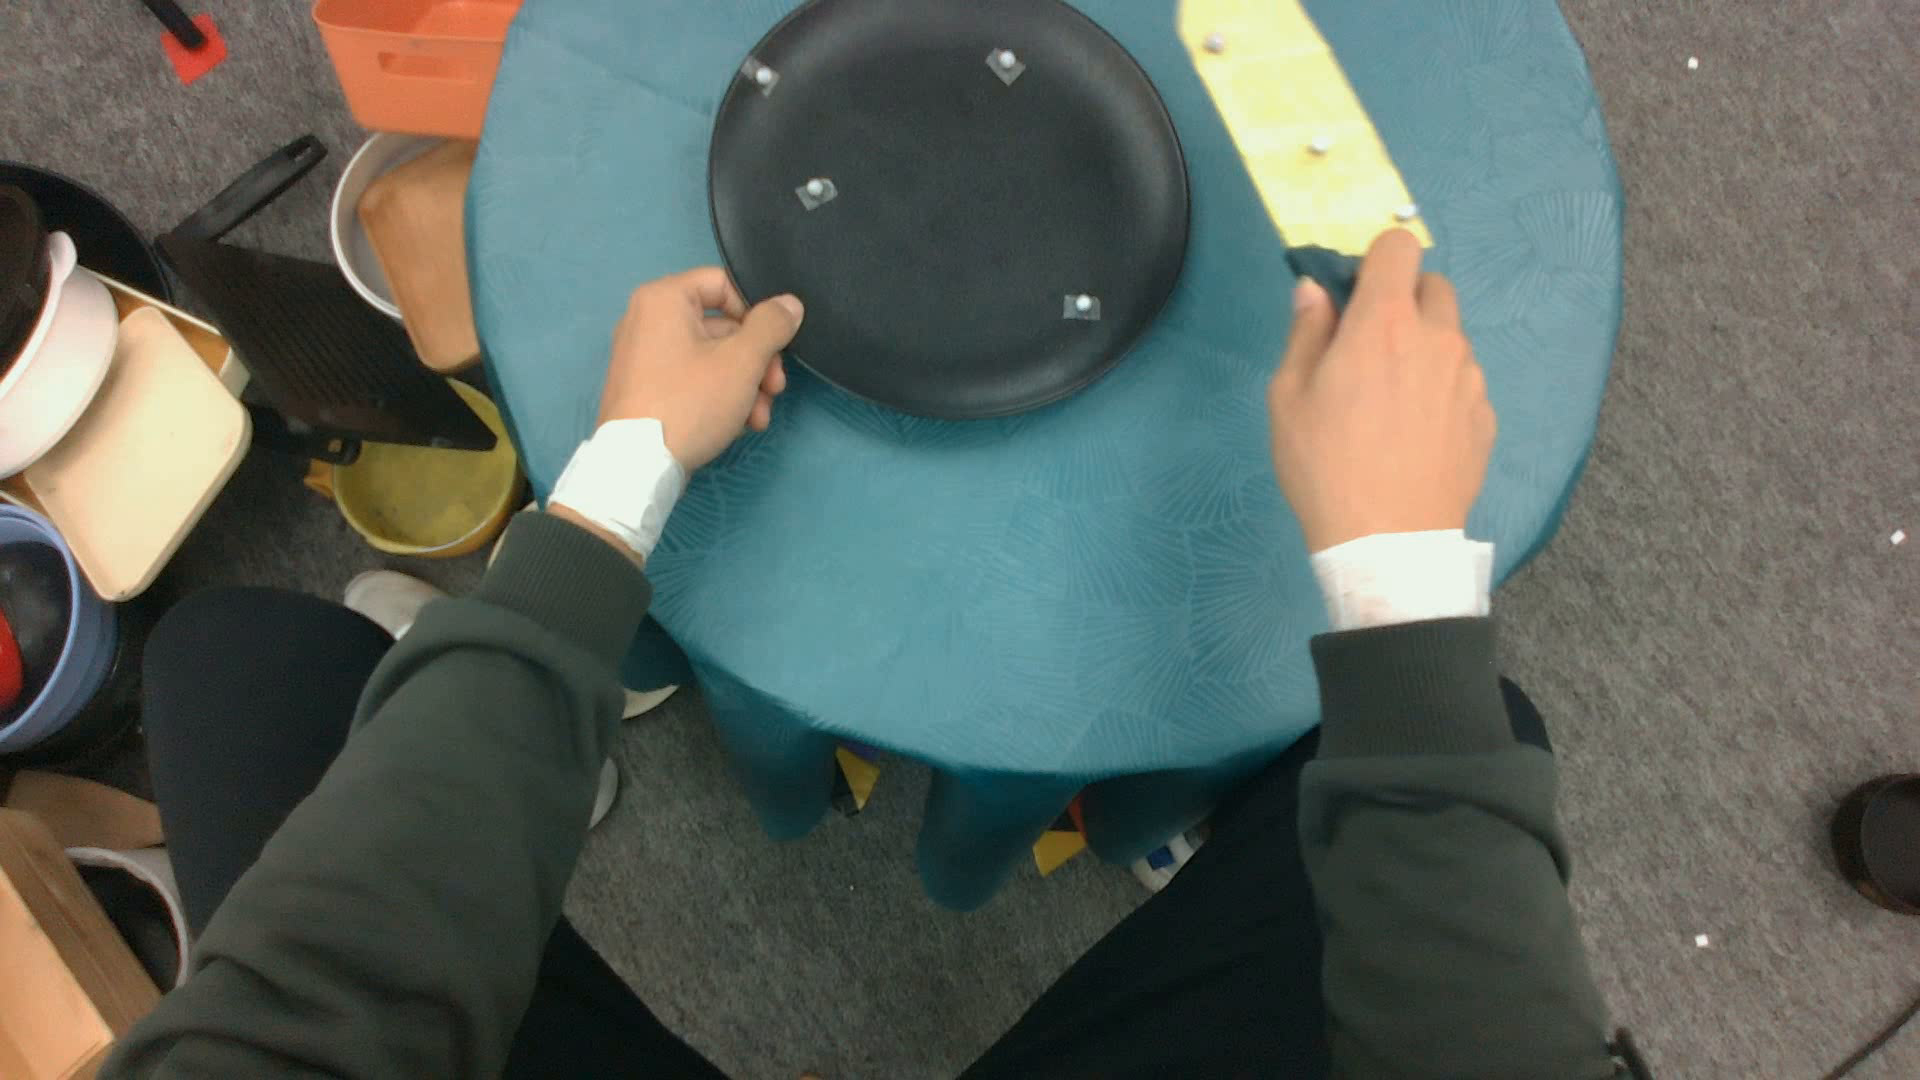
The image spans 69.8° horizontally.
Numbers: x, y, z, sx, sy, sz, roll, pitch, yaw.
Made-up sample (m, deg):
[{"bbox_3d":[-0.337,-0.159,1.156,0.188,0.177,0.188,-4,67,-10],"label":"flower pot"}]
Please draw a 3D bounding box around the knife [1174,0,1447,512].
[{"bbox_3d":[0.165,-0.150,0.623,0.081,0.027,0.290,-13,76,-18],"label":"knife"}]

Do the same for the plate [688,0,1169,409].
[{"bbox_3d":[-0.014,-0.179,0.700,0.244,0.023,0.245,2,75,-7],"label":"plate"}]
